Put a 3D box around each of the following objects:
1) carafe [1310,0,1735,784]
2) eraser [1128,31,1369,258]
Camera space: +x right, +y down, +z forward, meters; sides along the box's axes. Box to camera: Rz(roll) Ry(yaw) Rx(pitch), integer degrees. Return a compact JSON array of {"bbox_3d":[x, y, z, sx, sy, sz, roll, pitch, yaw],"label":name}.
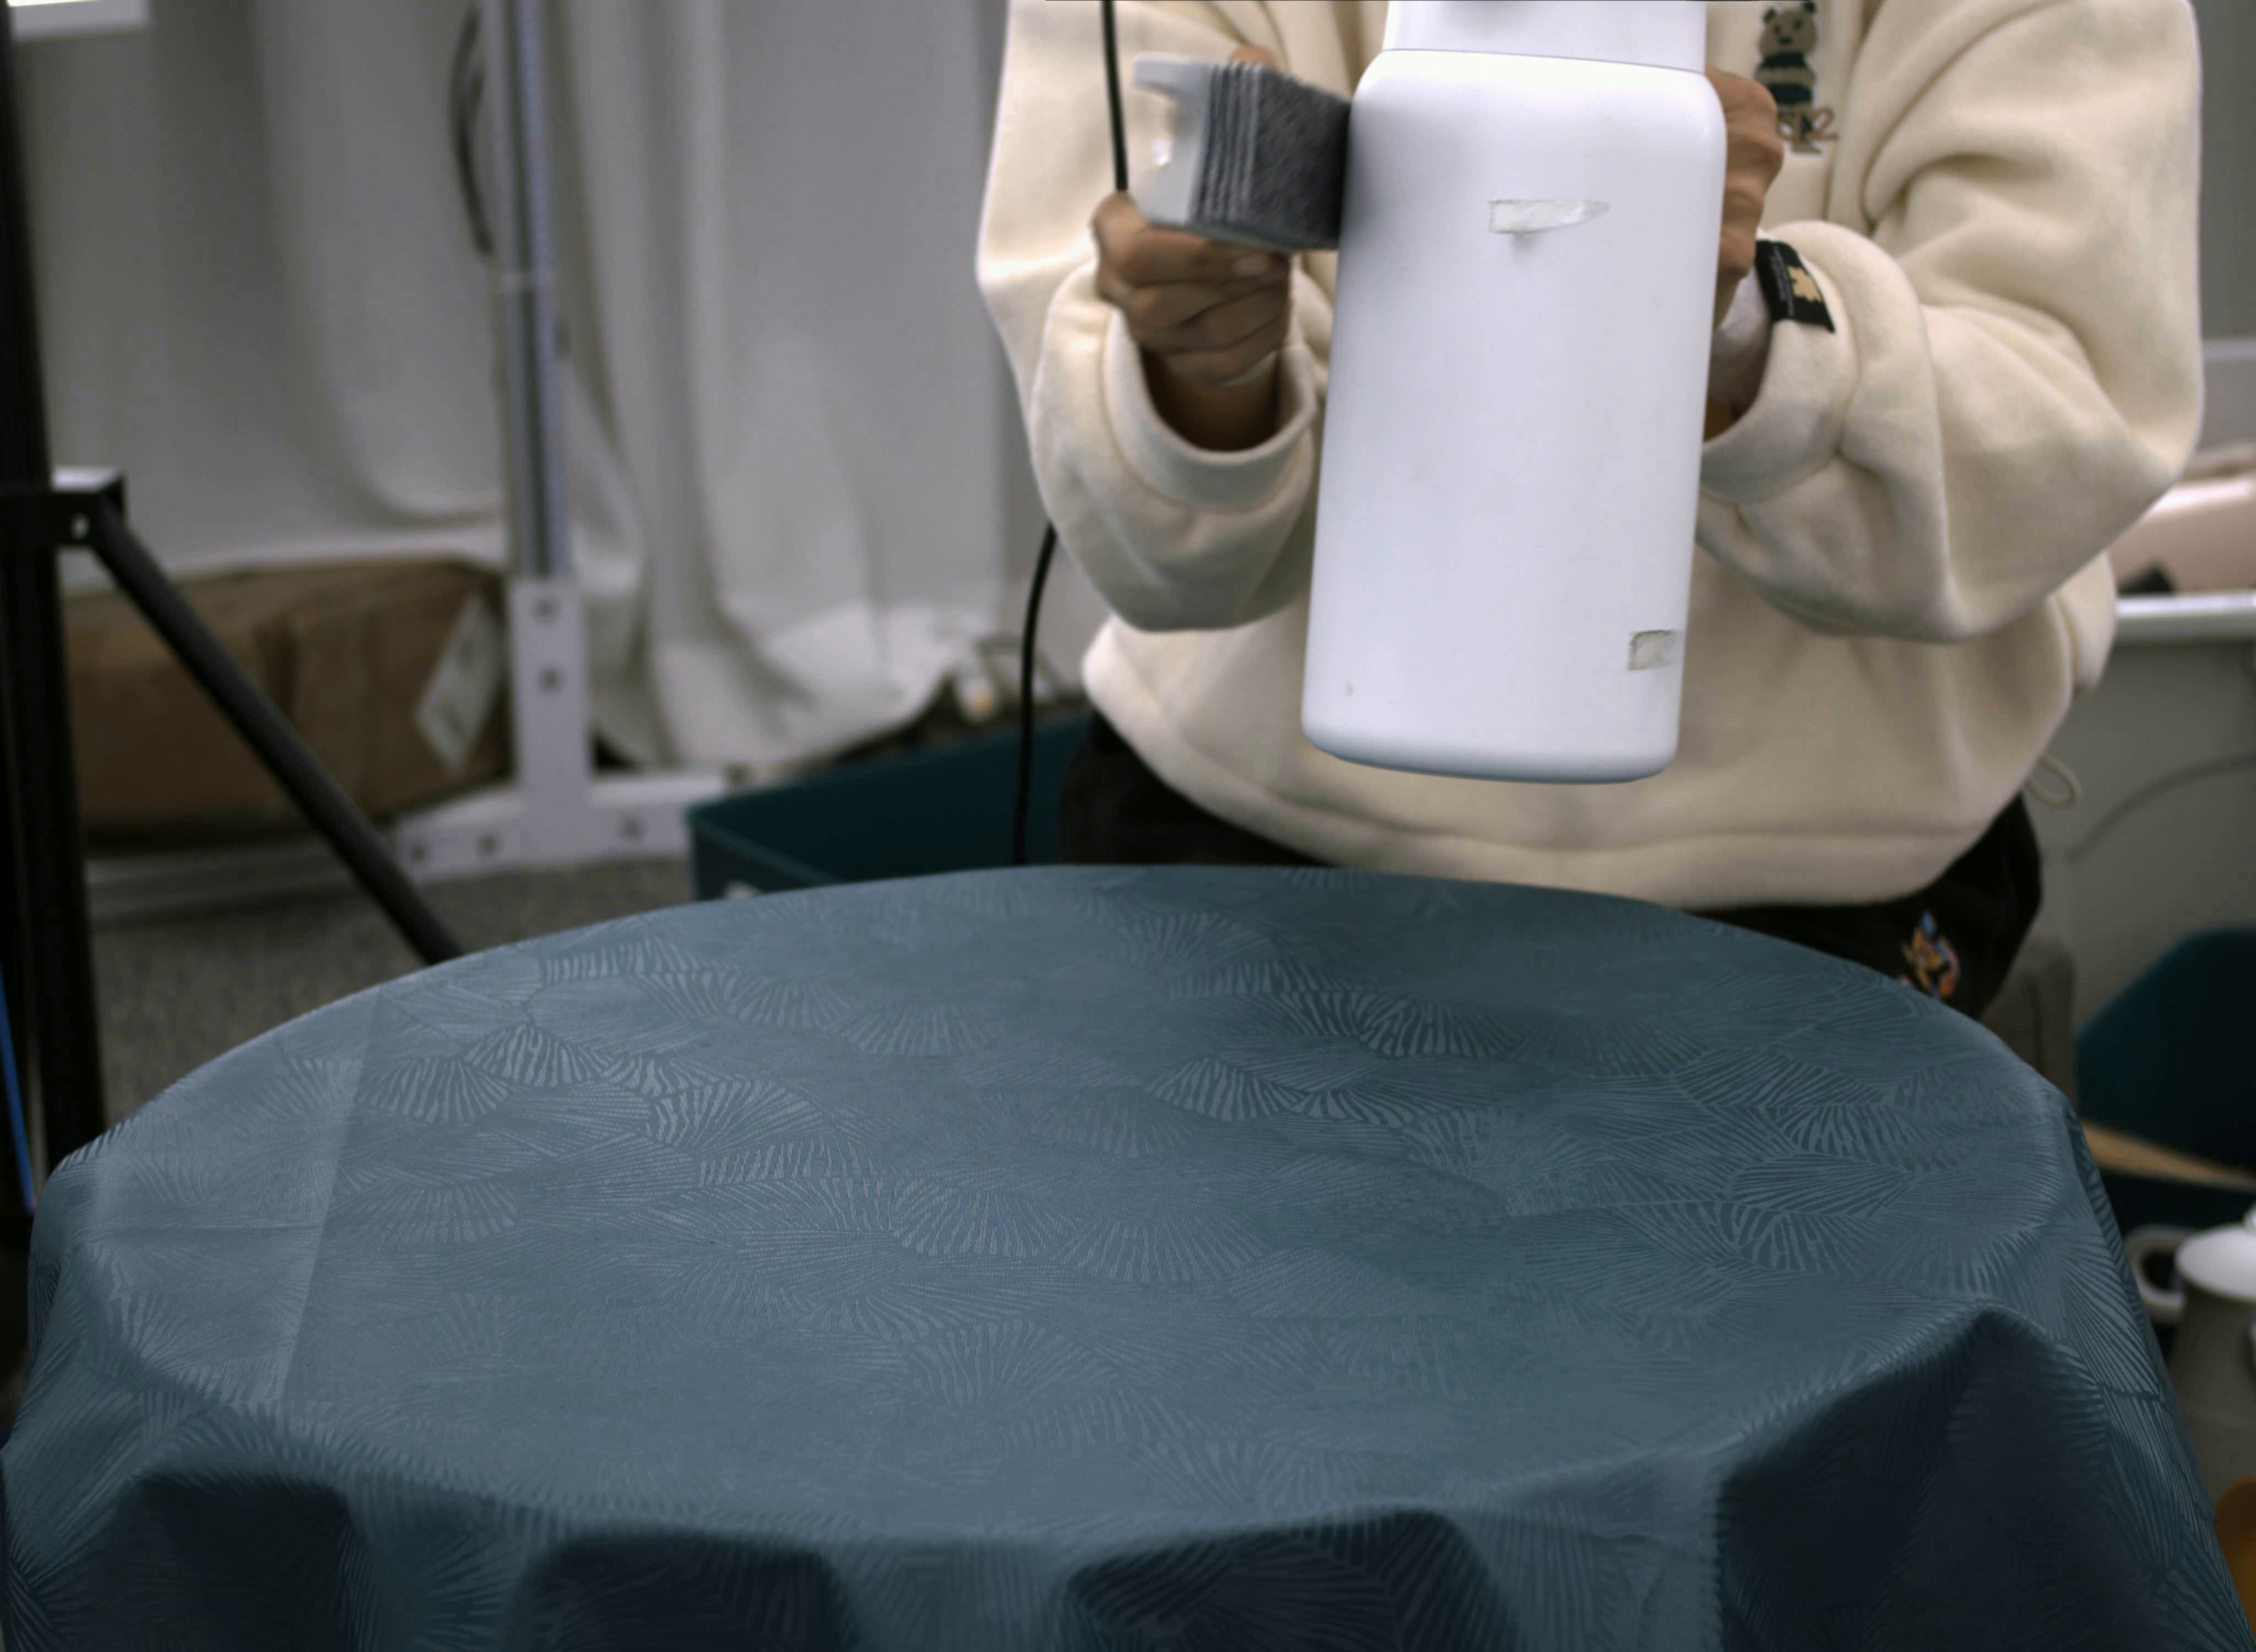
[{"bbox_3d":[0.130,-0.152,1.657,0.126,0.270,0.169,4,5,26],"label":"carafe"},{"bbox_3d":[0.041,-0.207,1.636,0.047,0.050,0.132,3,-1,17],"label":"eraser"}]
